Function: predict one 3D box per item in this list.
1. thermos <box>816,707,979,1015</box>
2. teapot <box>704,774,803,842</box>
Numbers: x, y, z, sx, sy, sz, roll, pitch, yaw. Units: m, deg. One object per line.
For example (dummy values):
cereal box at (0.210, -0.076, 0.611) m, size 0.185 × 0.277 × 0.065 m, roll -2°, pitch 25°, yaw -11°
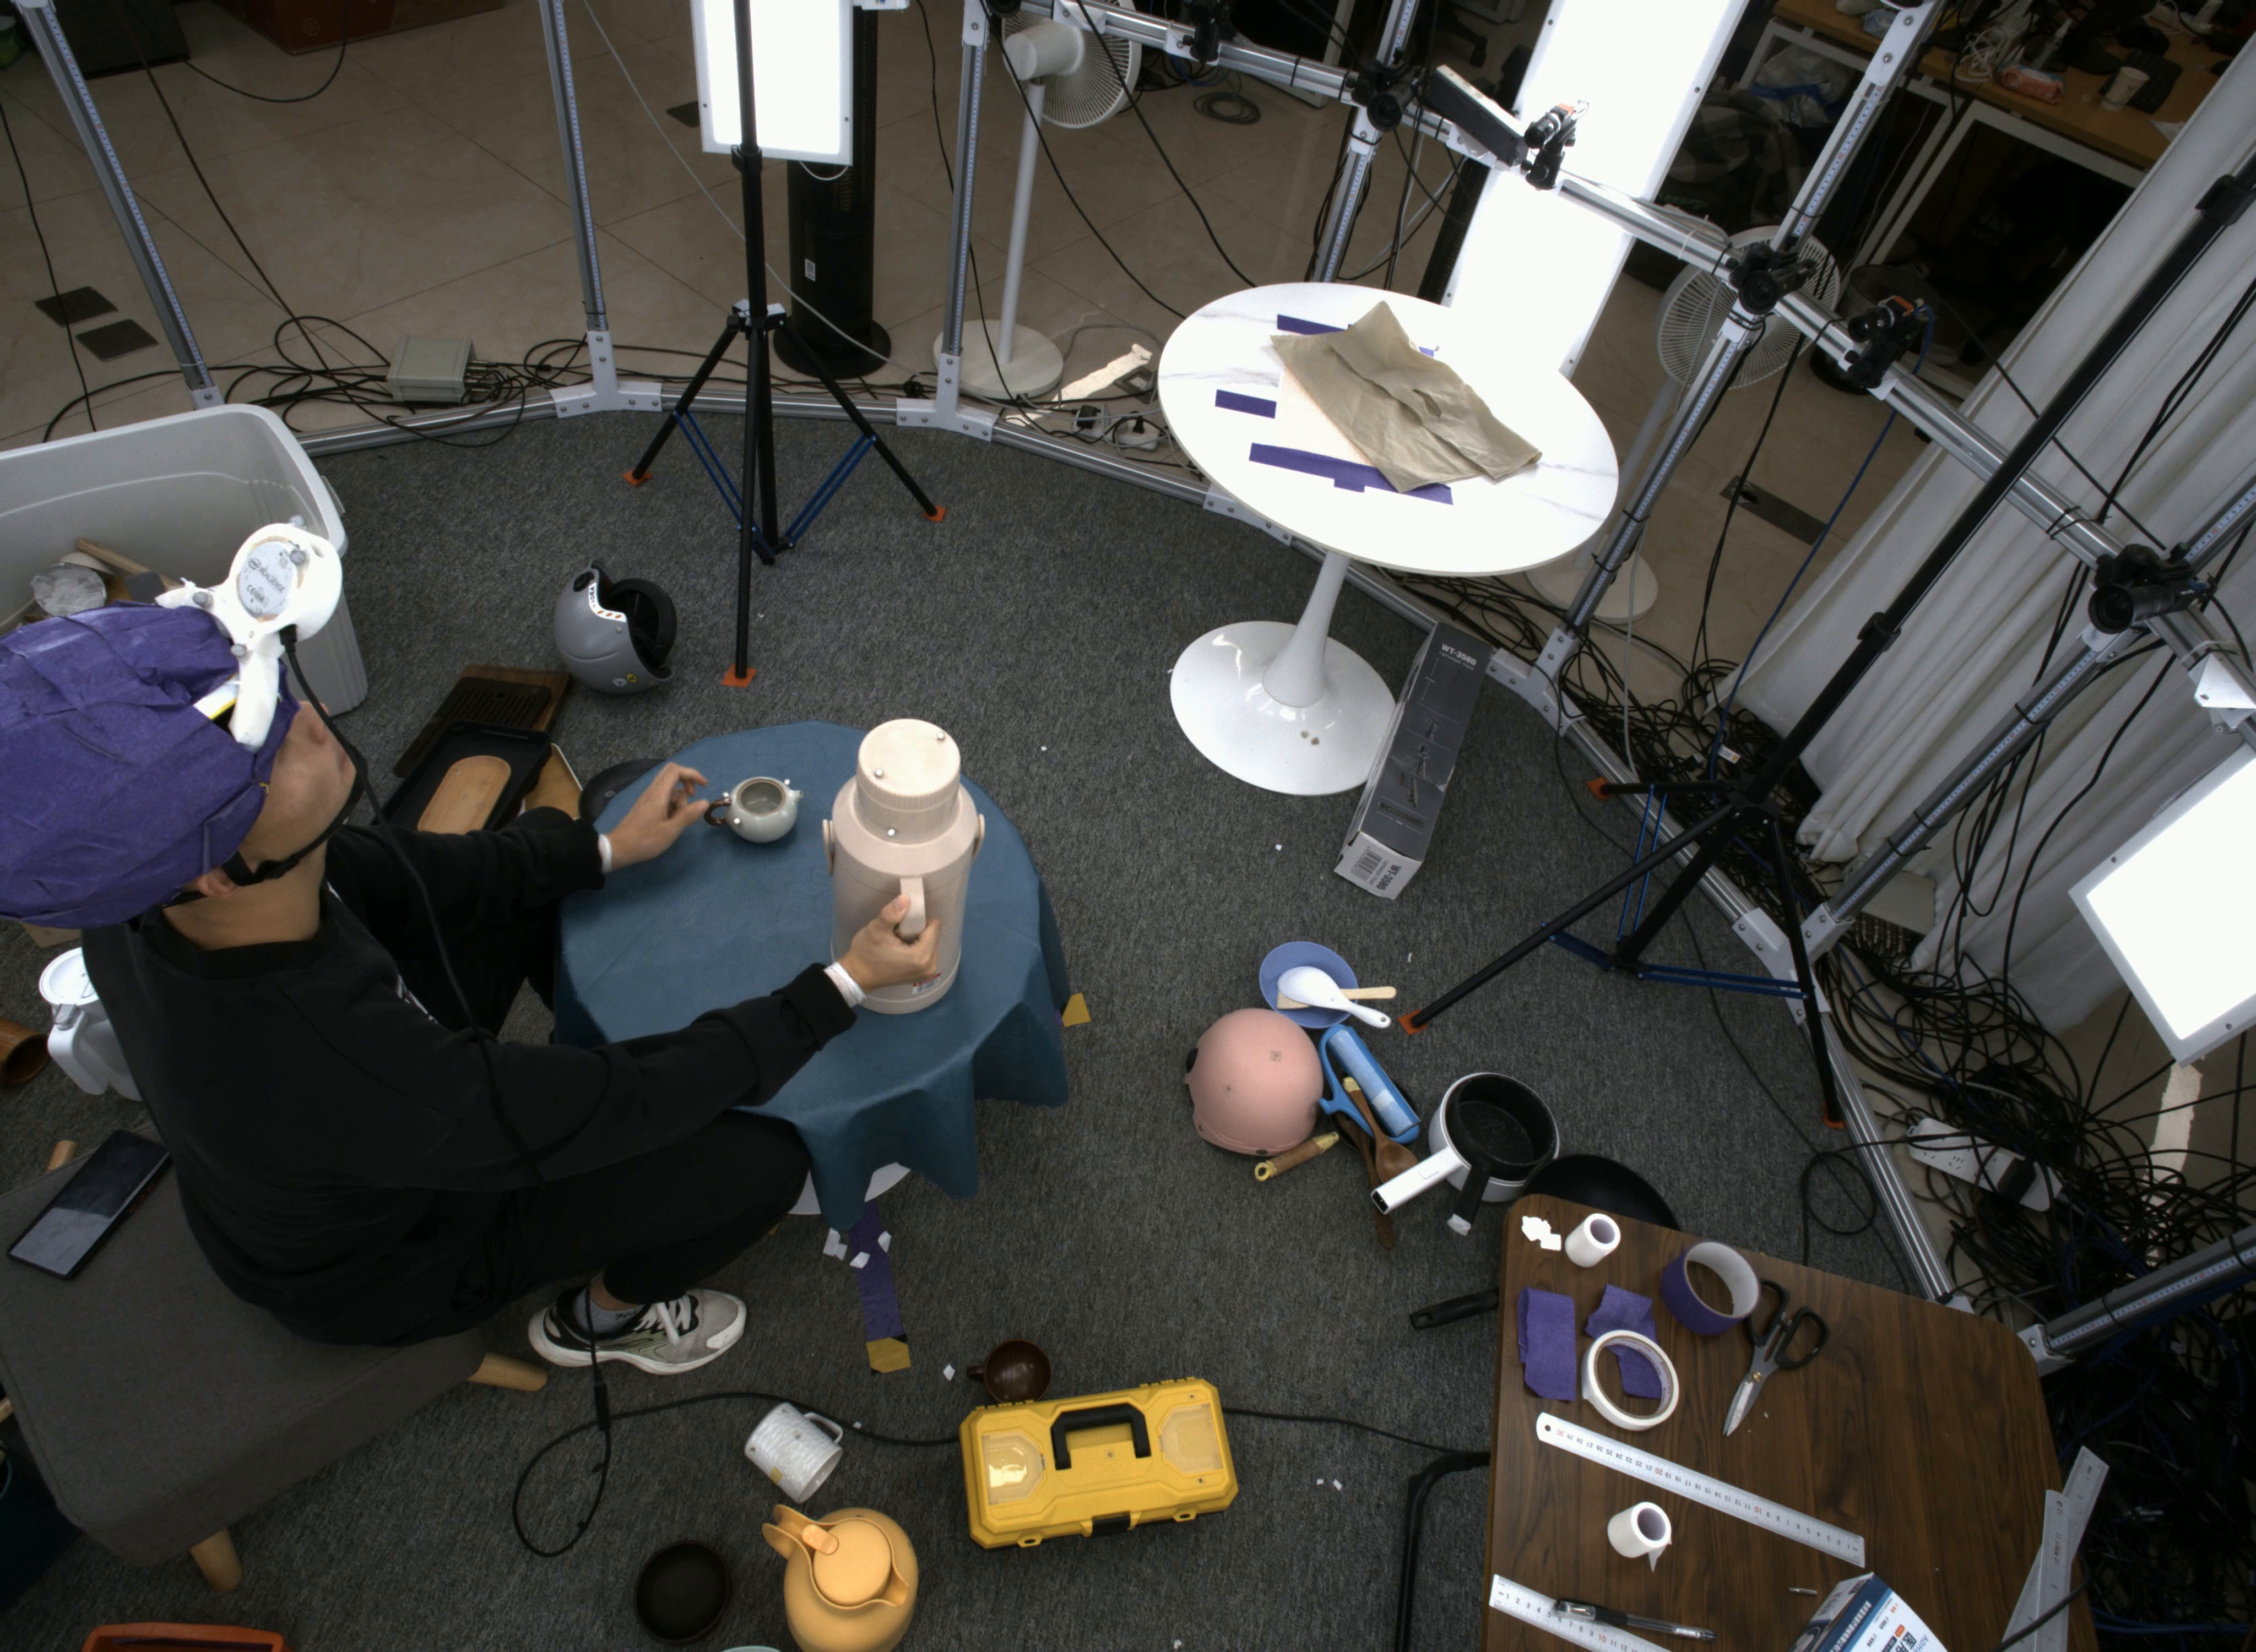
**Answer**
thermos at (-0.261, 0.054, 1.466) m, size 0.176 × 0.414 × 0.202 m, roll -4°, pitch 53°, yaw -17°
teapot at (-0.487, -0.022, 1.683) m, size 0.128 × 0.060 × 0.090 m, roll -9°, pitch 60°, yaw -20°
